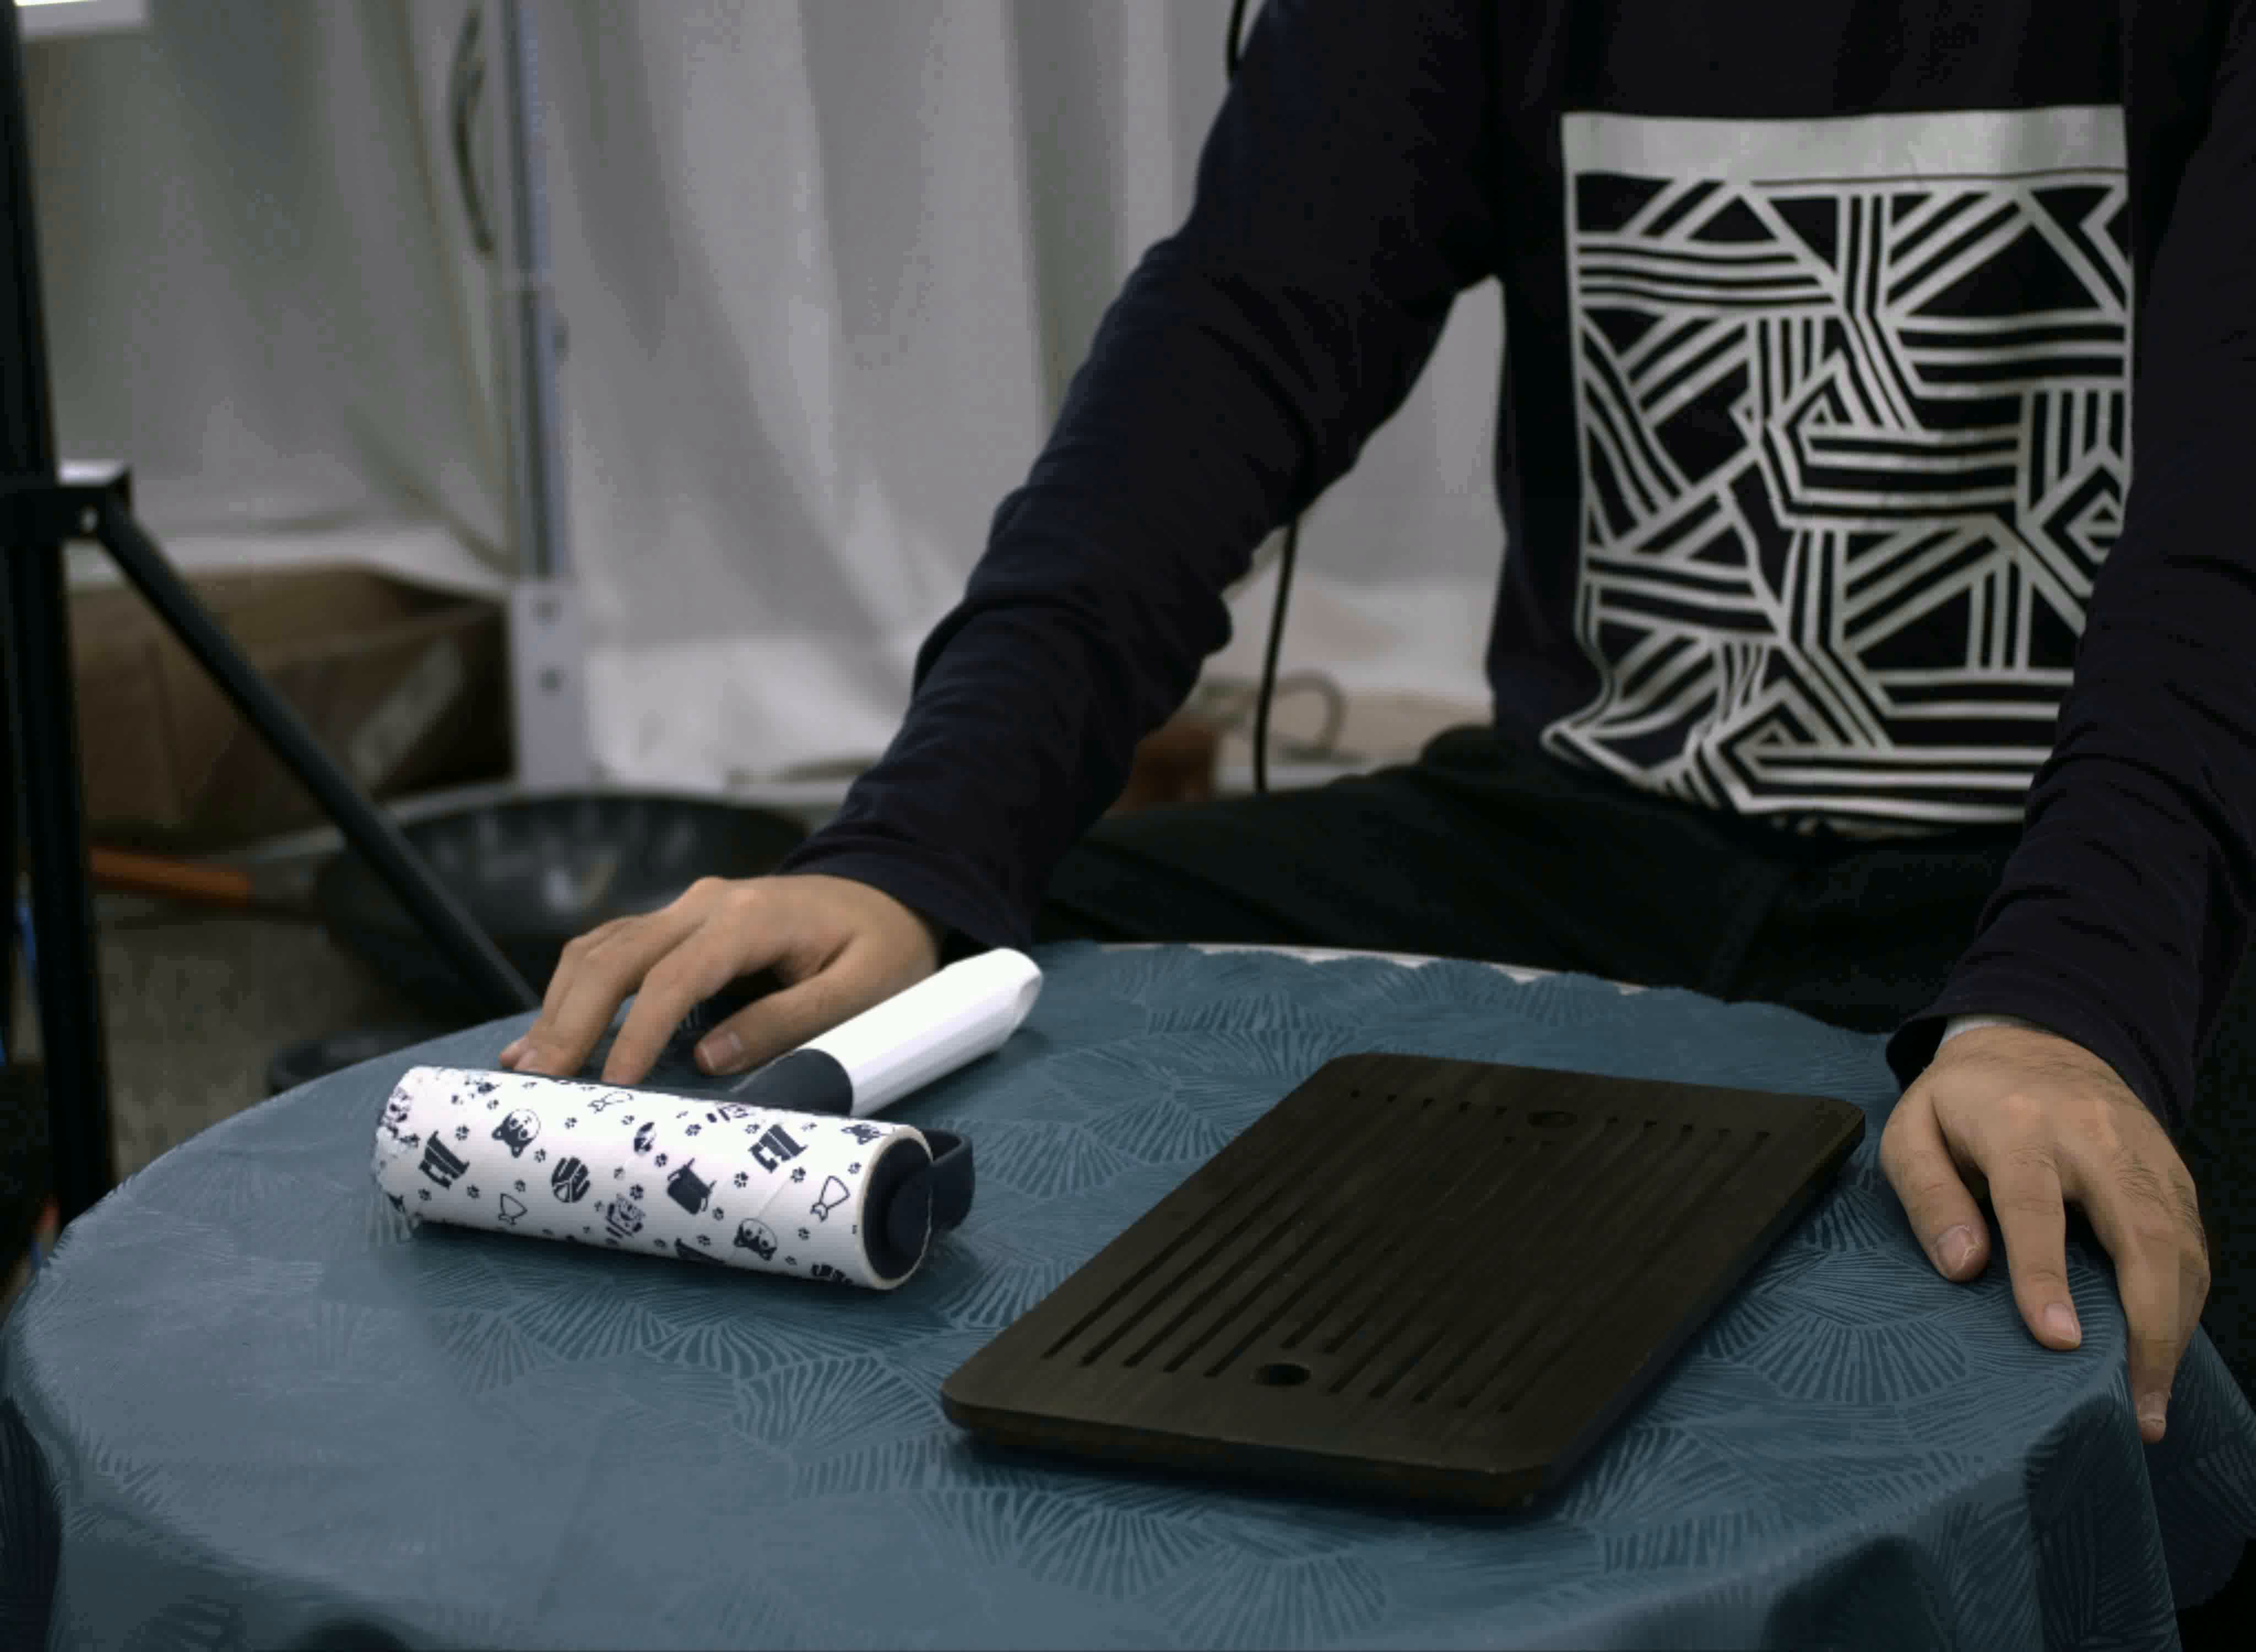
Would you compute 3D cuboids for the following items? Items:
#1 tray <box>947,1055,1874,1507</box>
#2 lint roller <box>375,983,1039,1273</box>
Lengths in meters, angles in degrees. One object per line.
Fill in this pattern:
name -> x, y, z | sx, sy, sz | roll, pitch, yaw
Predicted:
tray -> 0.087, 0.122, 1.465 | 0.172, 0.018, 0.301 | 4, 16, 24
lint roller -> -0.092, 0.077, 1.615 | 0.179, 0.050, 0.243 | 5, 14, 26
